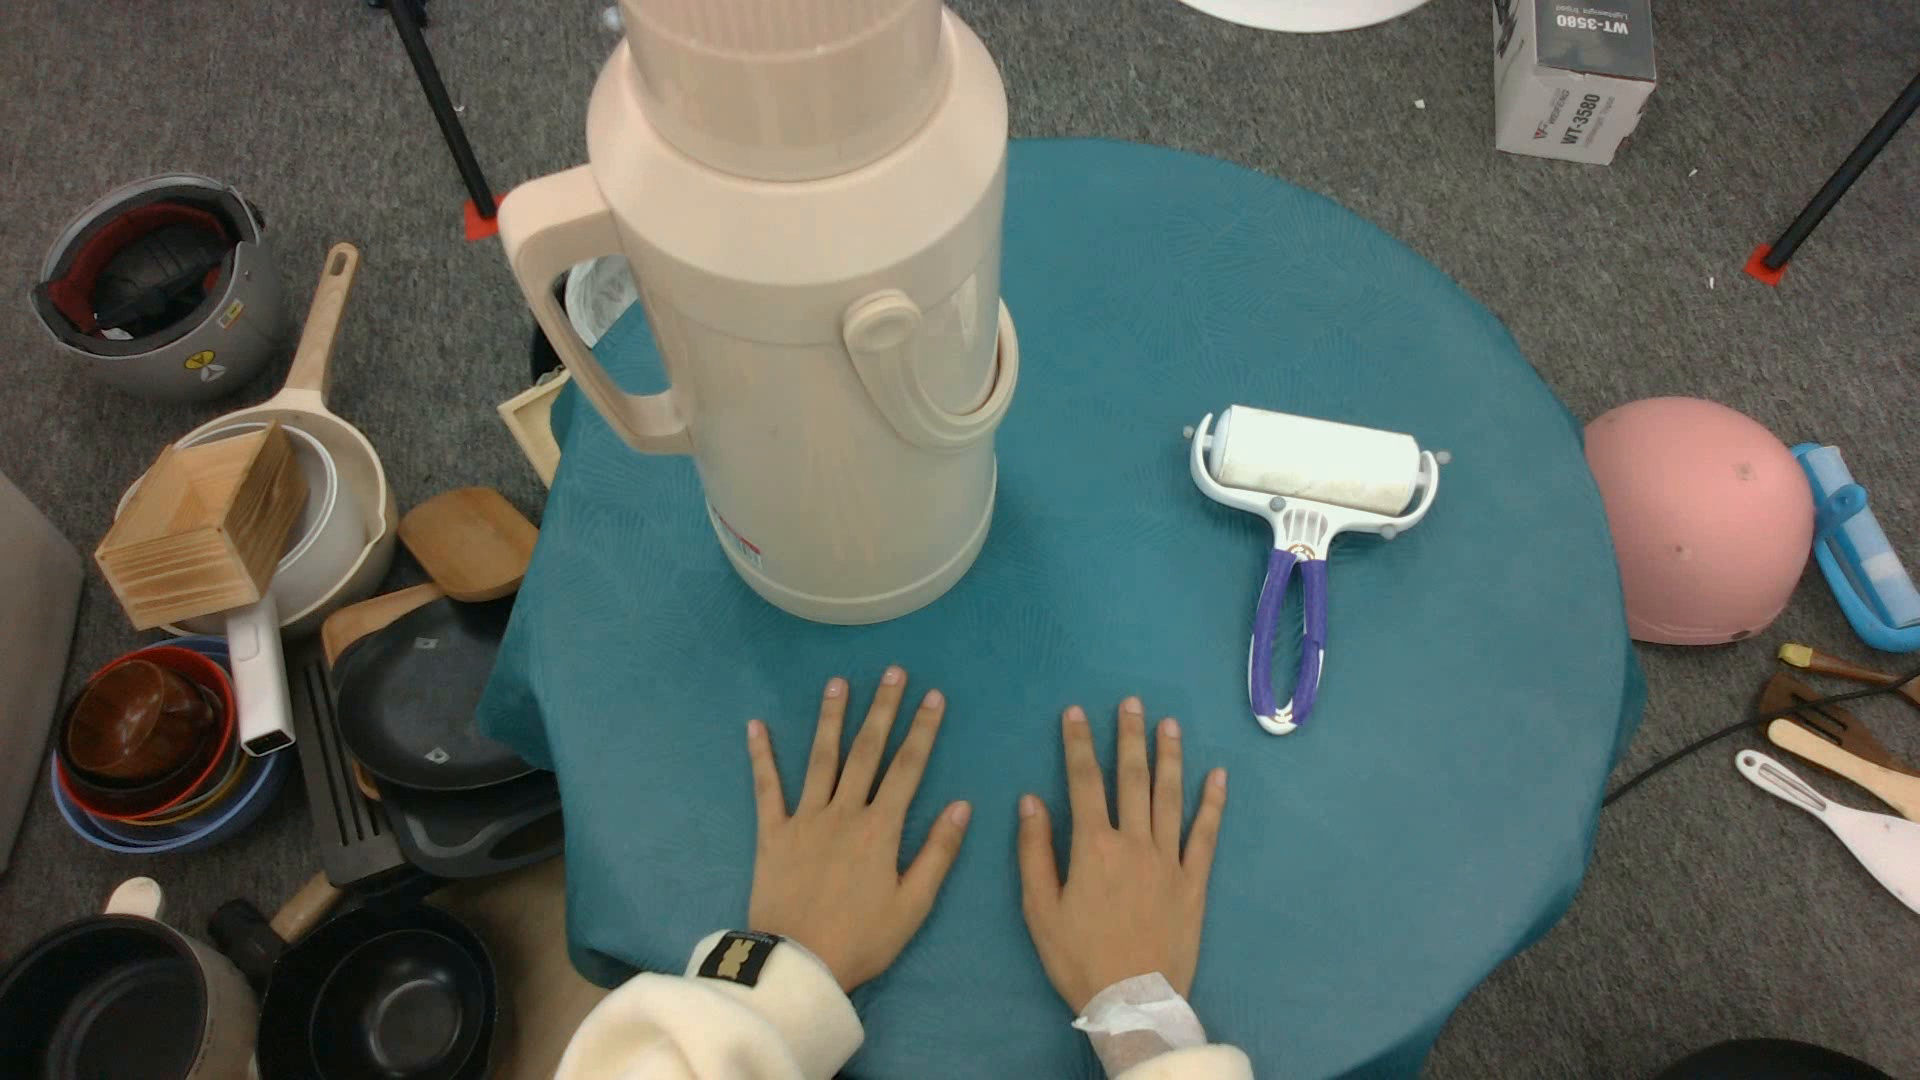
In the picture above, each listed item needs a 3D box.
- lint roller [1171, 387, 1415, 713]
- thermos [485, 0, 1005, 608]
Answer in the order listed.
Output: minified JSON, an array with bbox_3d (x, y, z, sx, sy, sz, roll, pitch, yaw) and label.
[{"bbox_3d":[0.170,0.002,0.737,0.133,0.050,0.181,13,61,5],"label":"lint roller"},{"bbox_3d":[-0.080,-0.118,0.599,0.207,0.404,0.175,-21,66,-11],"label":"thermos"}]
